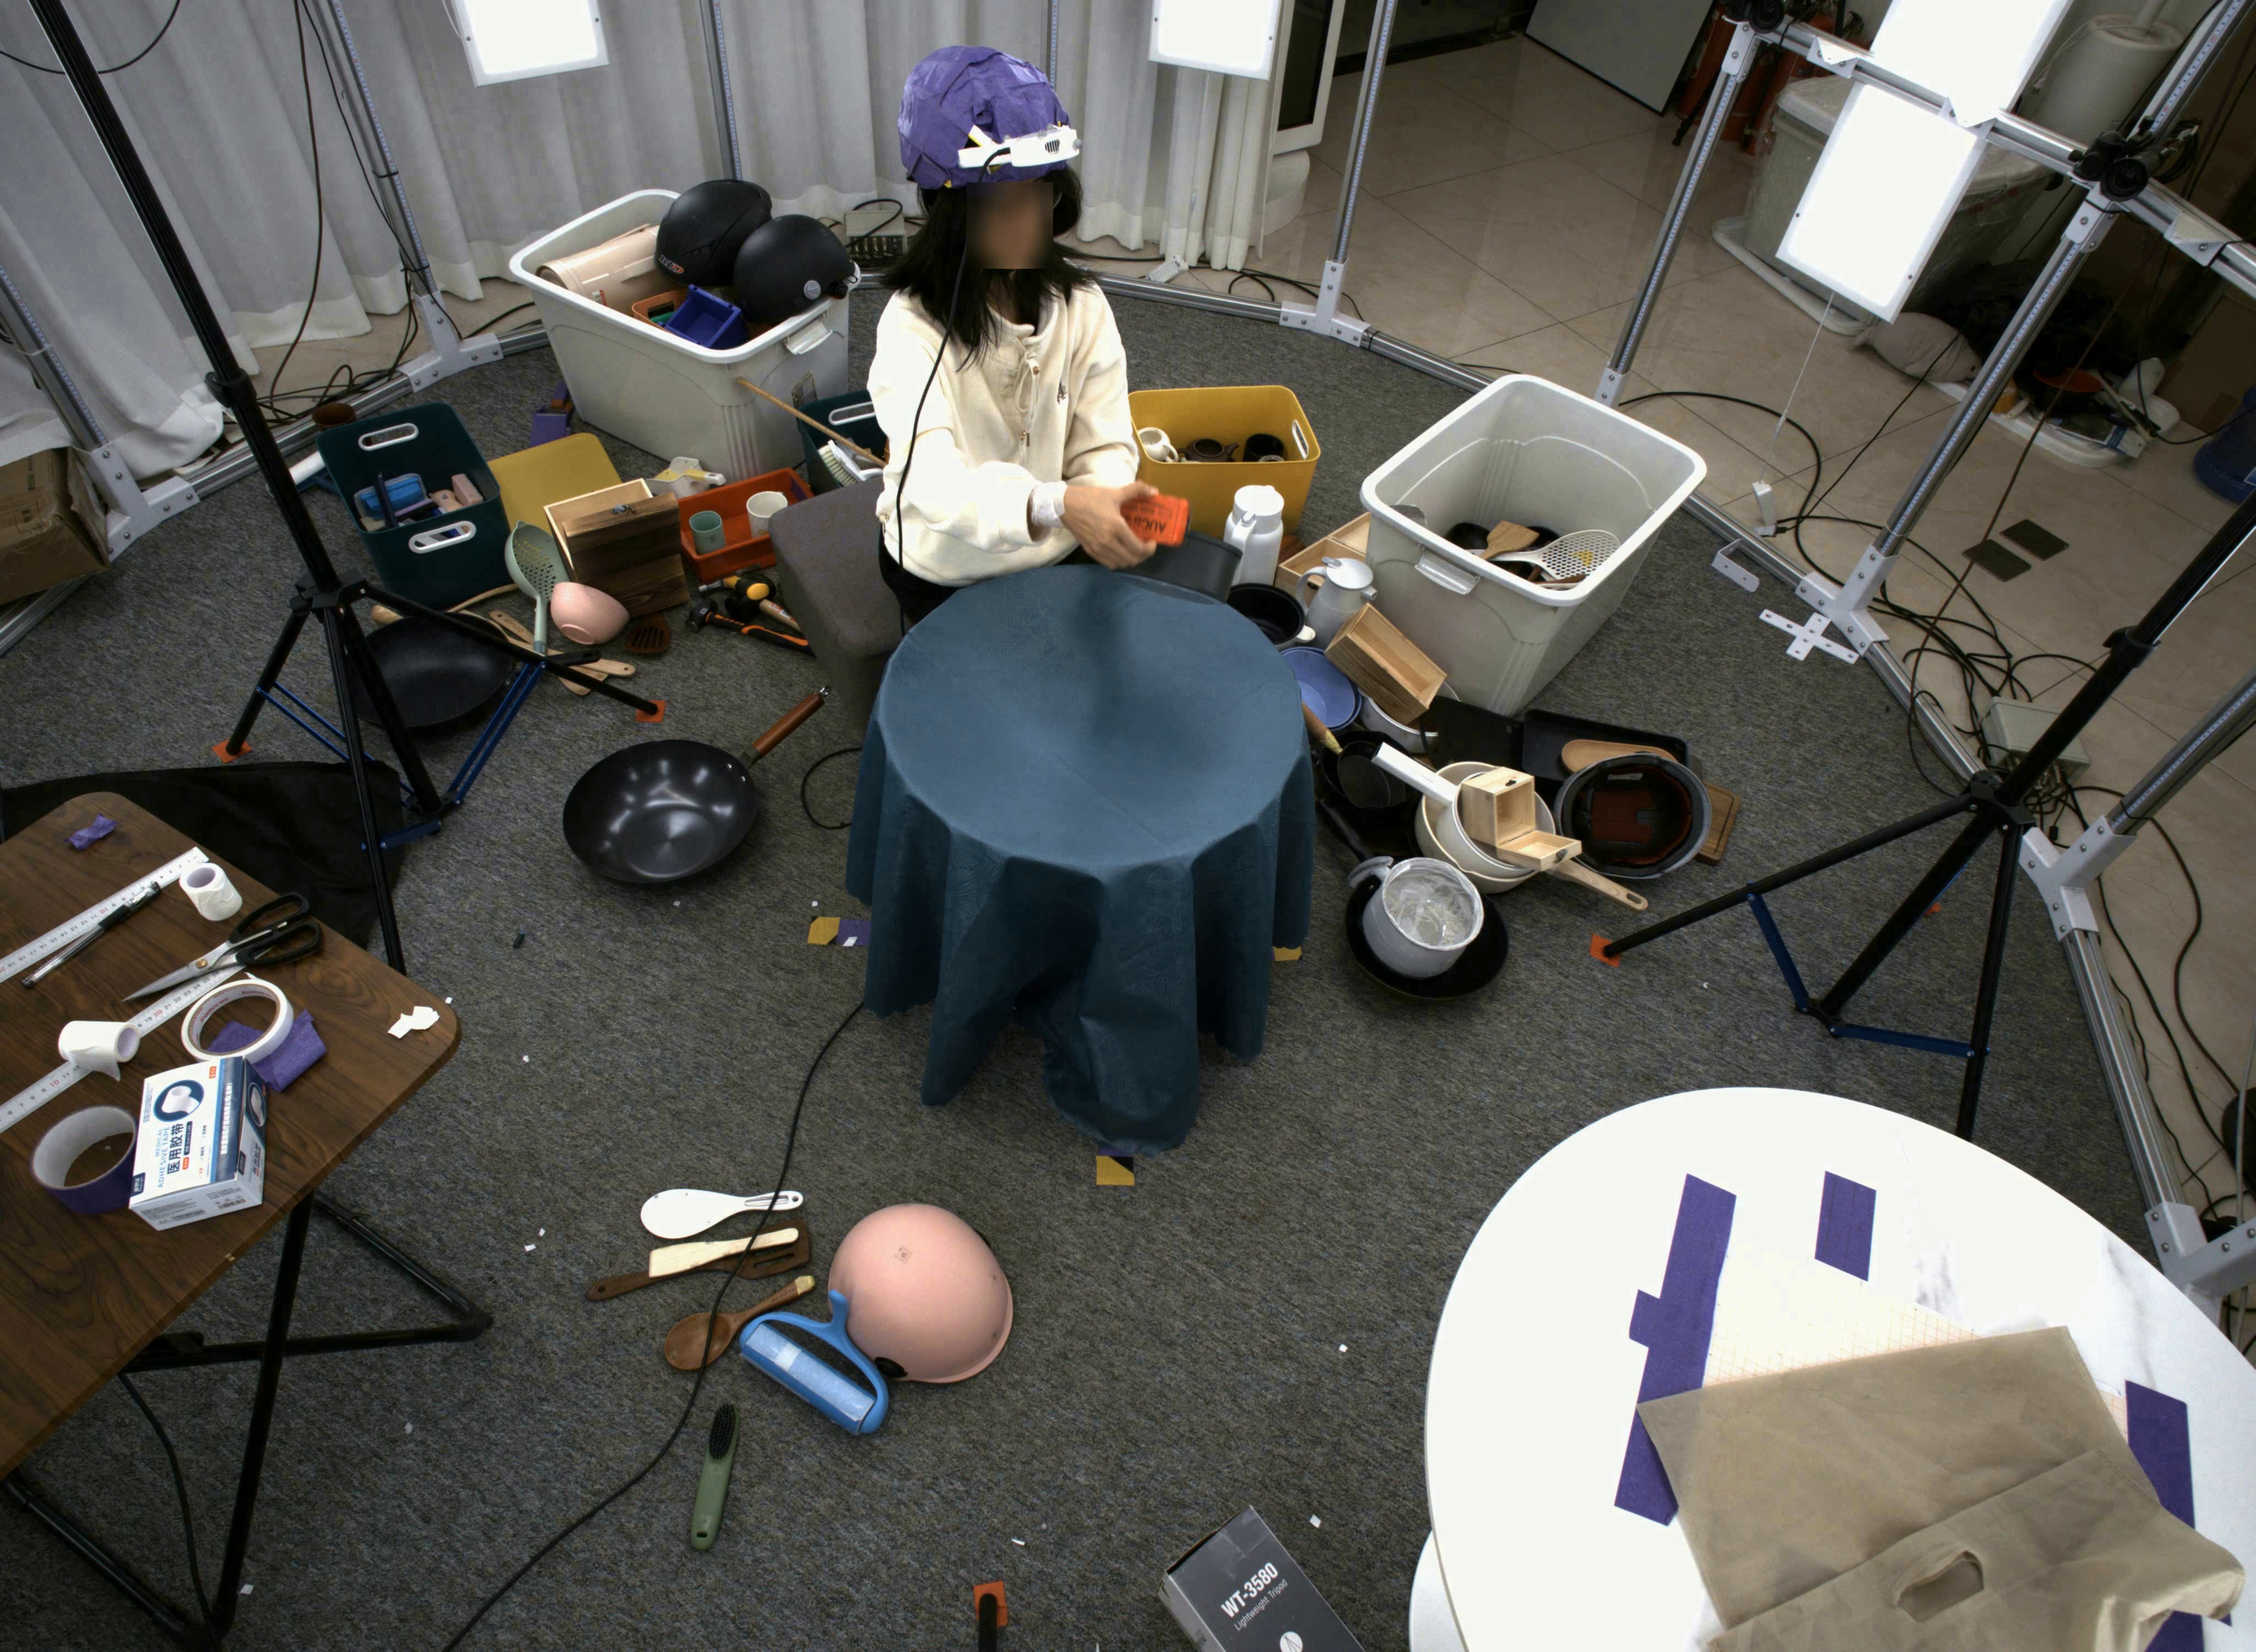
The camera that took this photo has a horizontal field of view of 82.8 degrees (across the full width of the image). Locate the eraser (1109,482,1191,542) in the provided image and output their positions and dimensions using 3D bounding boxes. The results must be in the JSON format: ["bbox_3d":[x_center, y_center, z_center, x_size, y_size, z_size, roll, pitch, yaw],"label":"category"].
[{"bbox_3d":[0.027,-0.391,1.607,0.109,0.058,0.023,22,18,34],"label":"eraser"}]

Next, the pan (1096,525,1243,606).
[{"bbox_3d":[0.027,-0.372,1.797,0.170,0.086,0.333,14,7,-29],"label":"pan"}]
